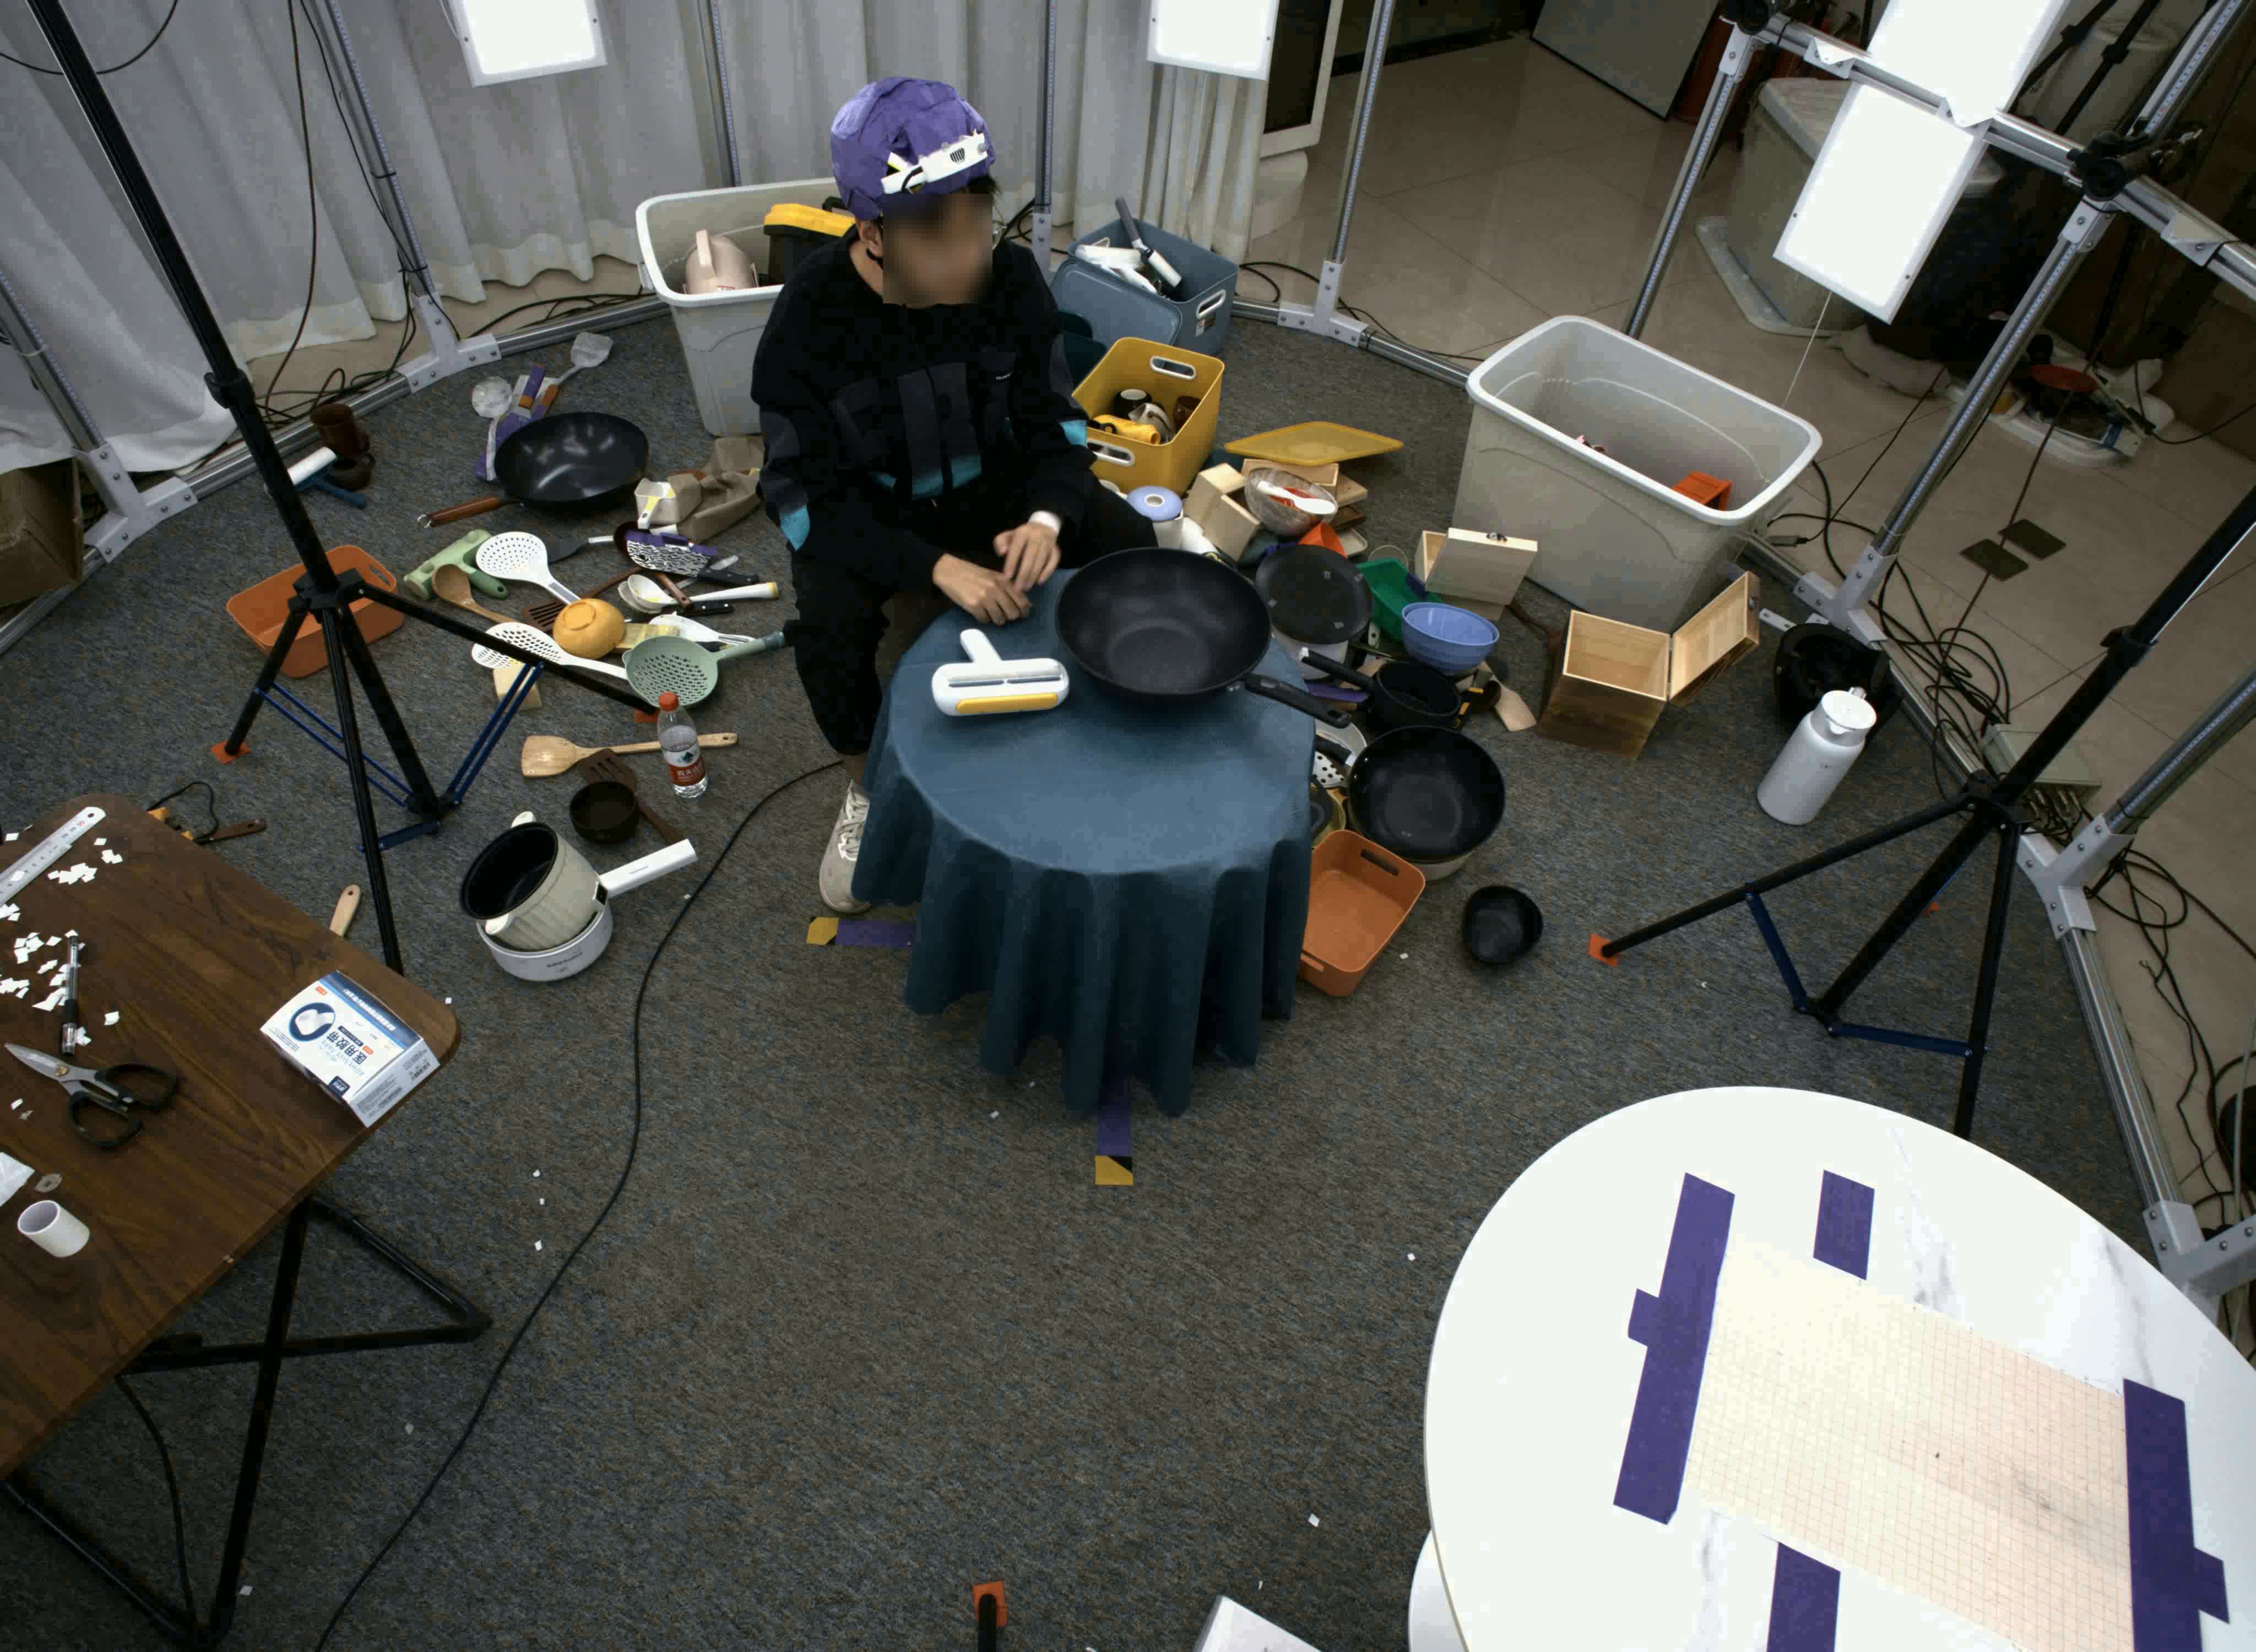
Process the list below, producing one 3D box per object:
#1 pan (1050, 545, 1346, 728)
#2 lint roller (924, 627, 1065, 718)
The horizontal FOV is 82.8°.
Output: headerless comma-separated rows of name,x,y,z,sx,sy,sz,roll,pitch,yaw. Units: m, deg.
pan,0.105,-0.234,1.809,0.483,0.109,0.313,36,58,25
lint roller,-0.198,-0.229,1.810,0.192,0.072,0.197,-6,48,-16
